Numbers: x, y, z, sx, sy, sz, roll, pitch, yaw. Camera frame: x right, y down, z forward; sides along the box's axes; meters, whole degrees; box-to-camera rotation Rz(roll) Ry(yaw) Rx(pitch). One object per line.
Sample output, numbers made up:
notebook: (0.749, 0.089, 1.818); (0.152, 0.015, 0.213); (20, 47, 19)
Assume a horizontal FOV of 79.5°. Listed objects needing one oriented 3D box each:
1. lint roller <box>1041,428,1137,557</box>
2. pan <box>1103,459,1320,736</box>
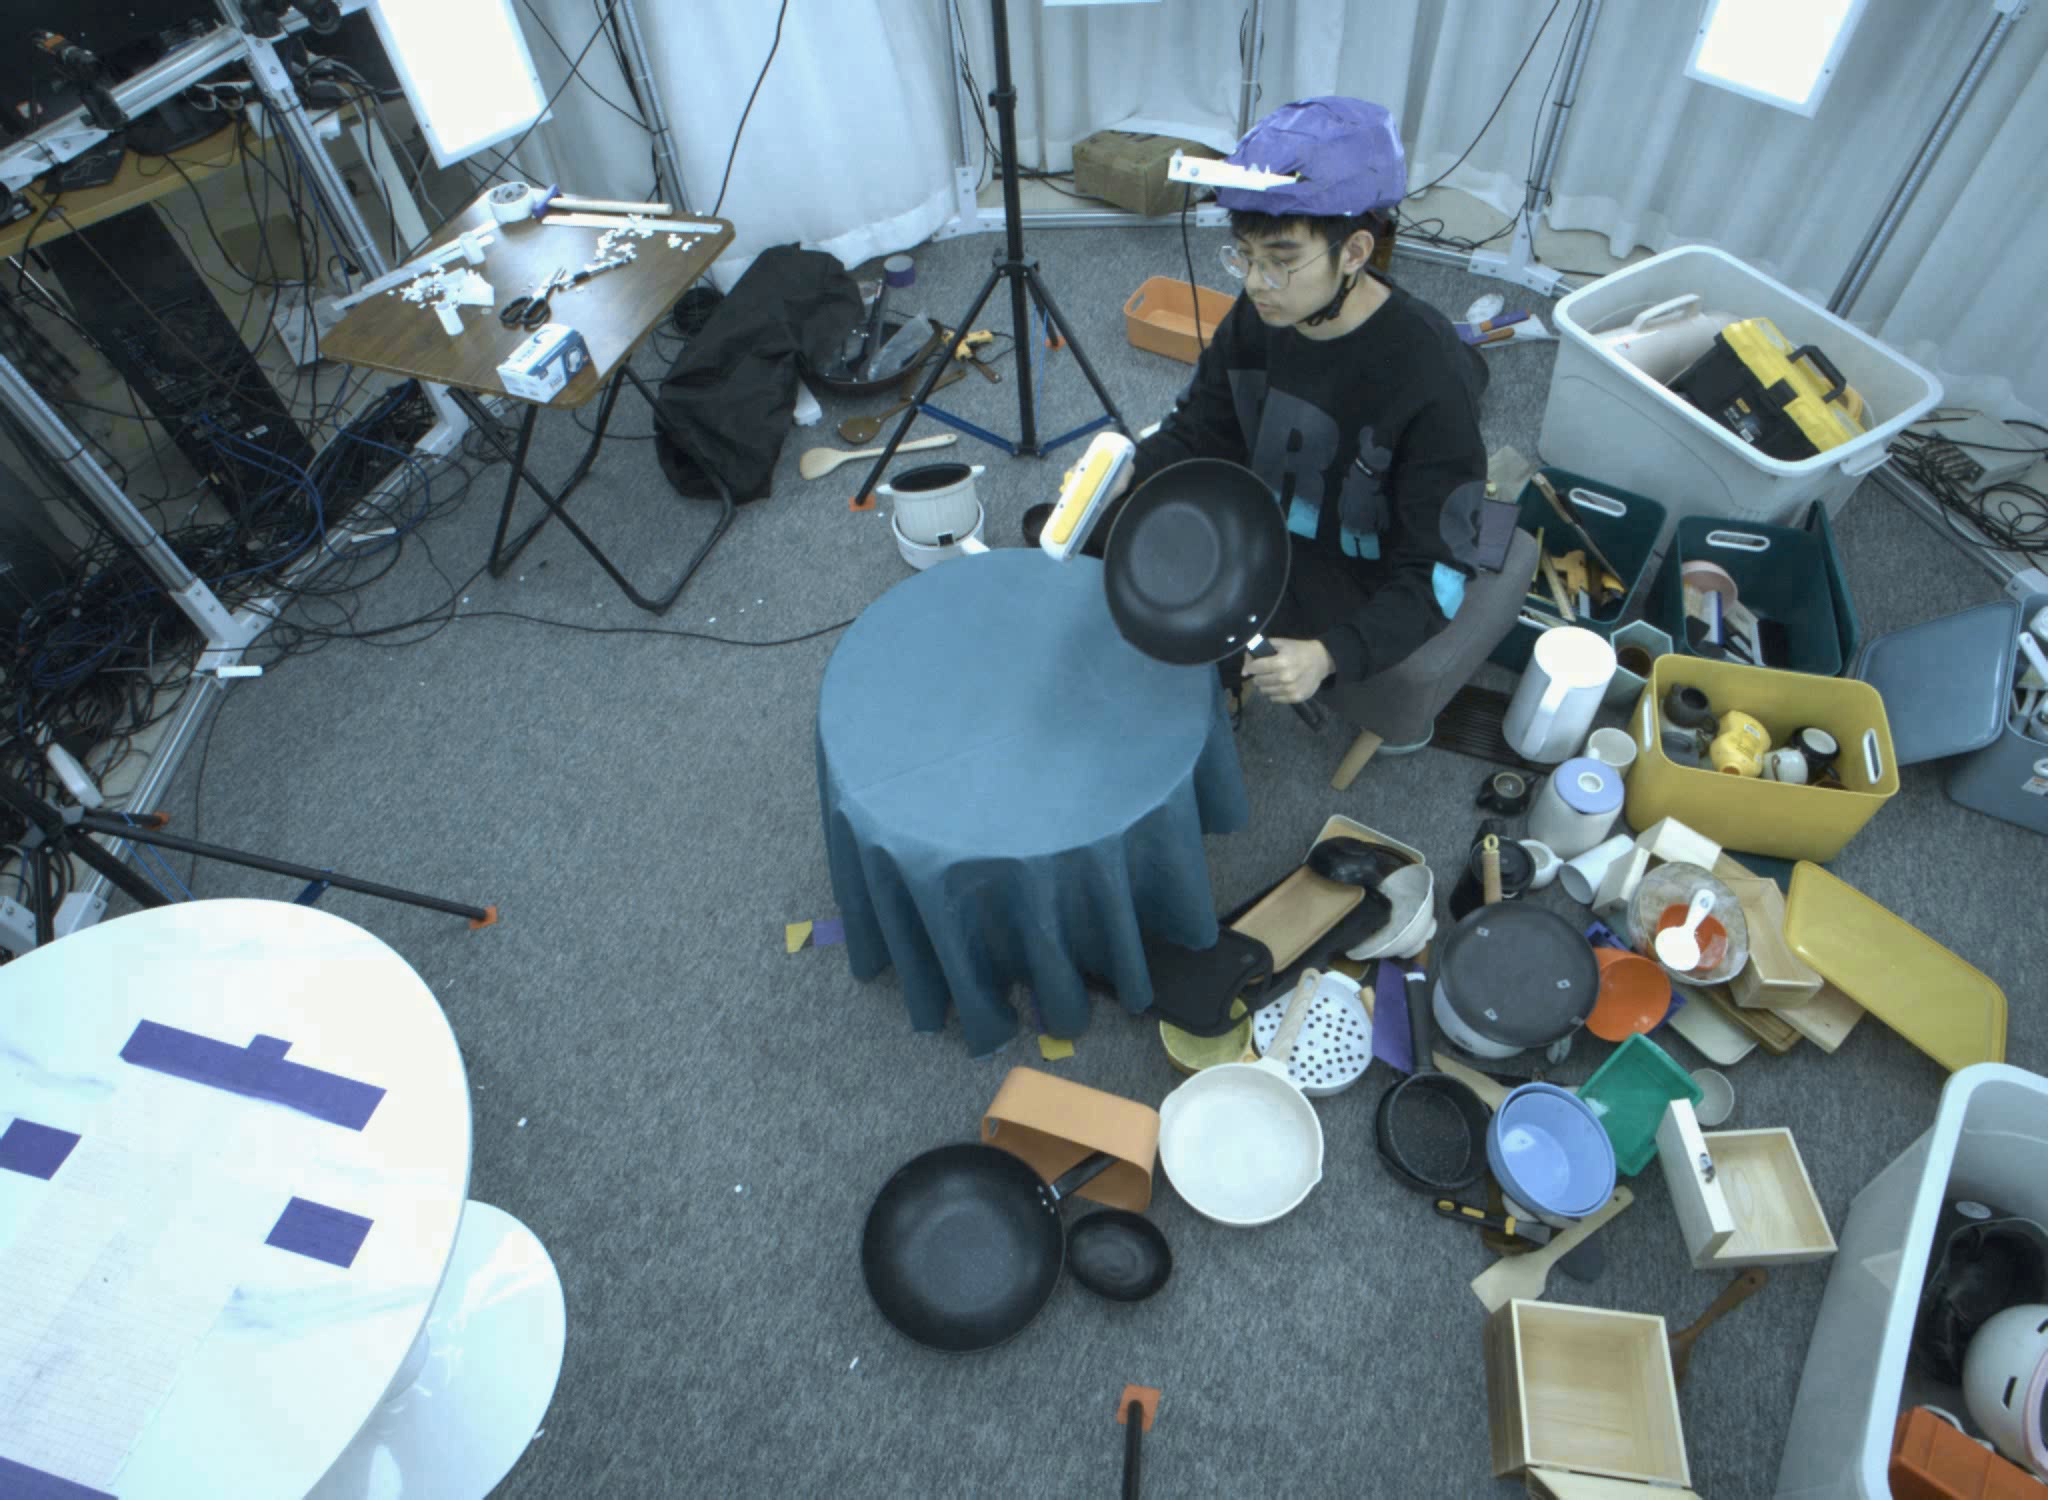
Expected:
lint roller: (0.095, -0.367, 1.745); (0.074, 0.193, 0.193); (28, 102, 8)
pan: (0.278, -0.198, 1.715); (0.288, 0.472, 0.085); (-44, 27, -4)
